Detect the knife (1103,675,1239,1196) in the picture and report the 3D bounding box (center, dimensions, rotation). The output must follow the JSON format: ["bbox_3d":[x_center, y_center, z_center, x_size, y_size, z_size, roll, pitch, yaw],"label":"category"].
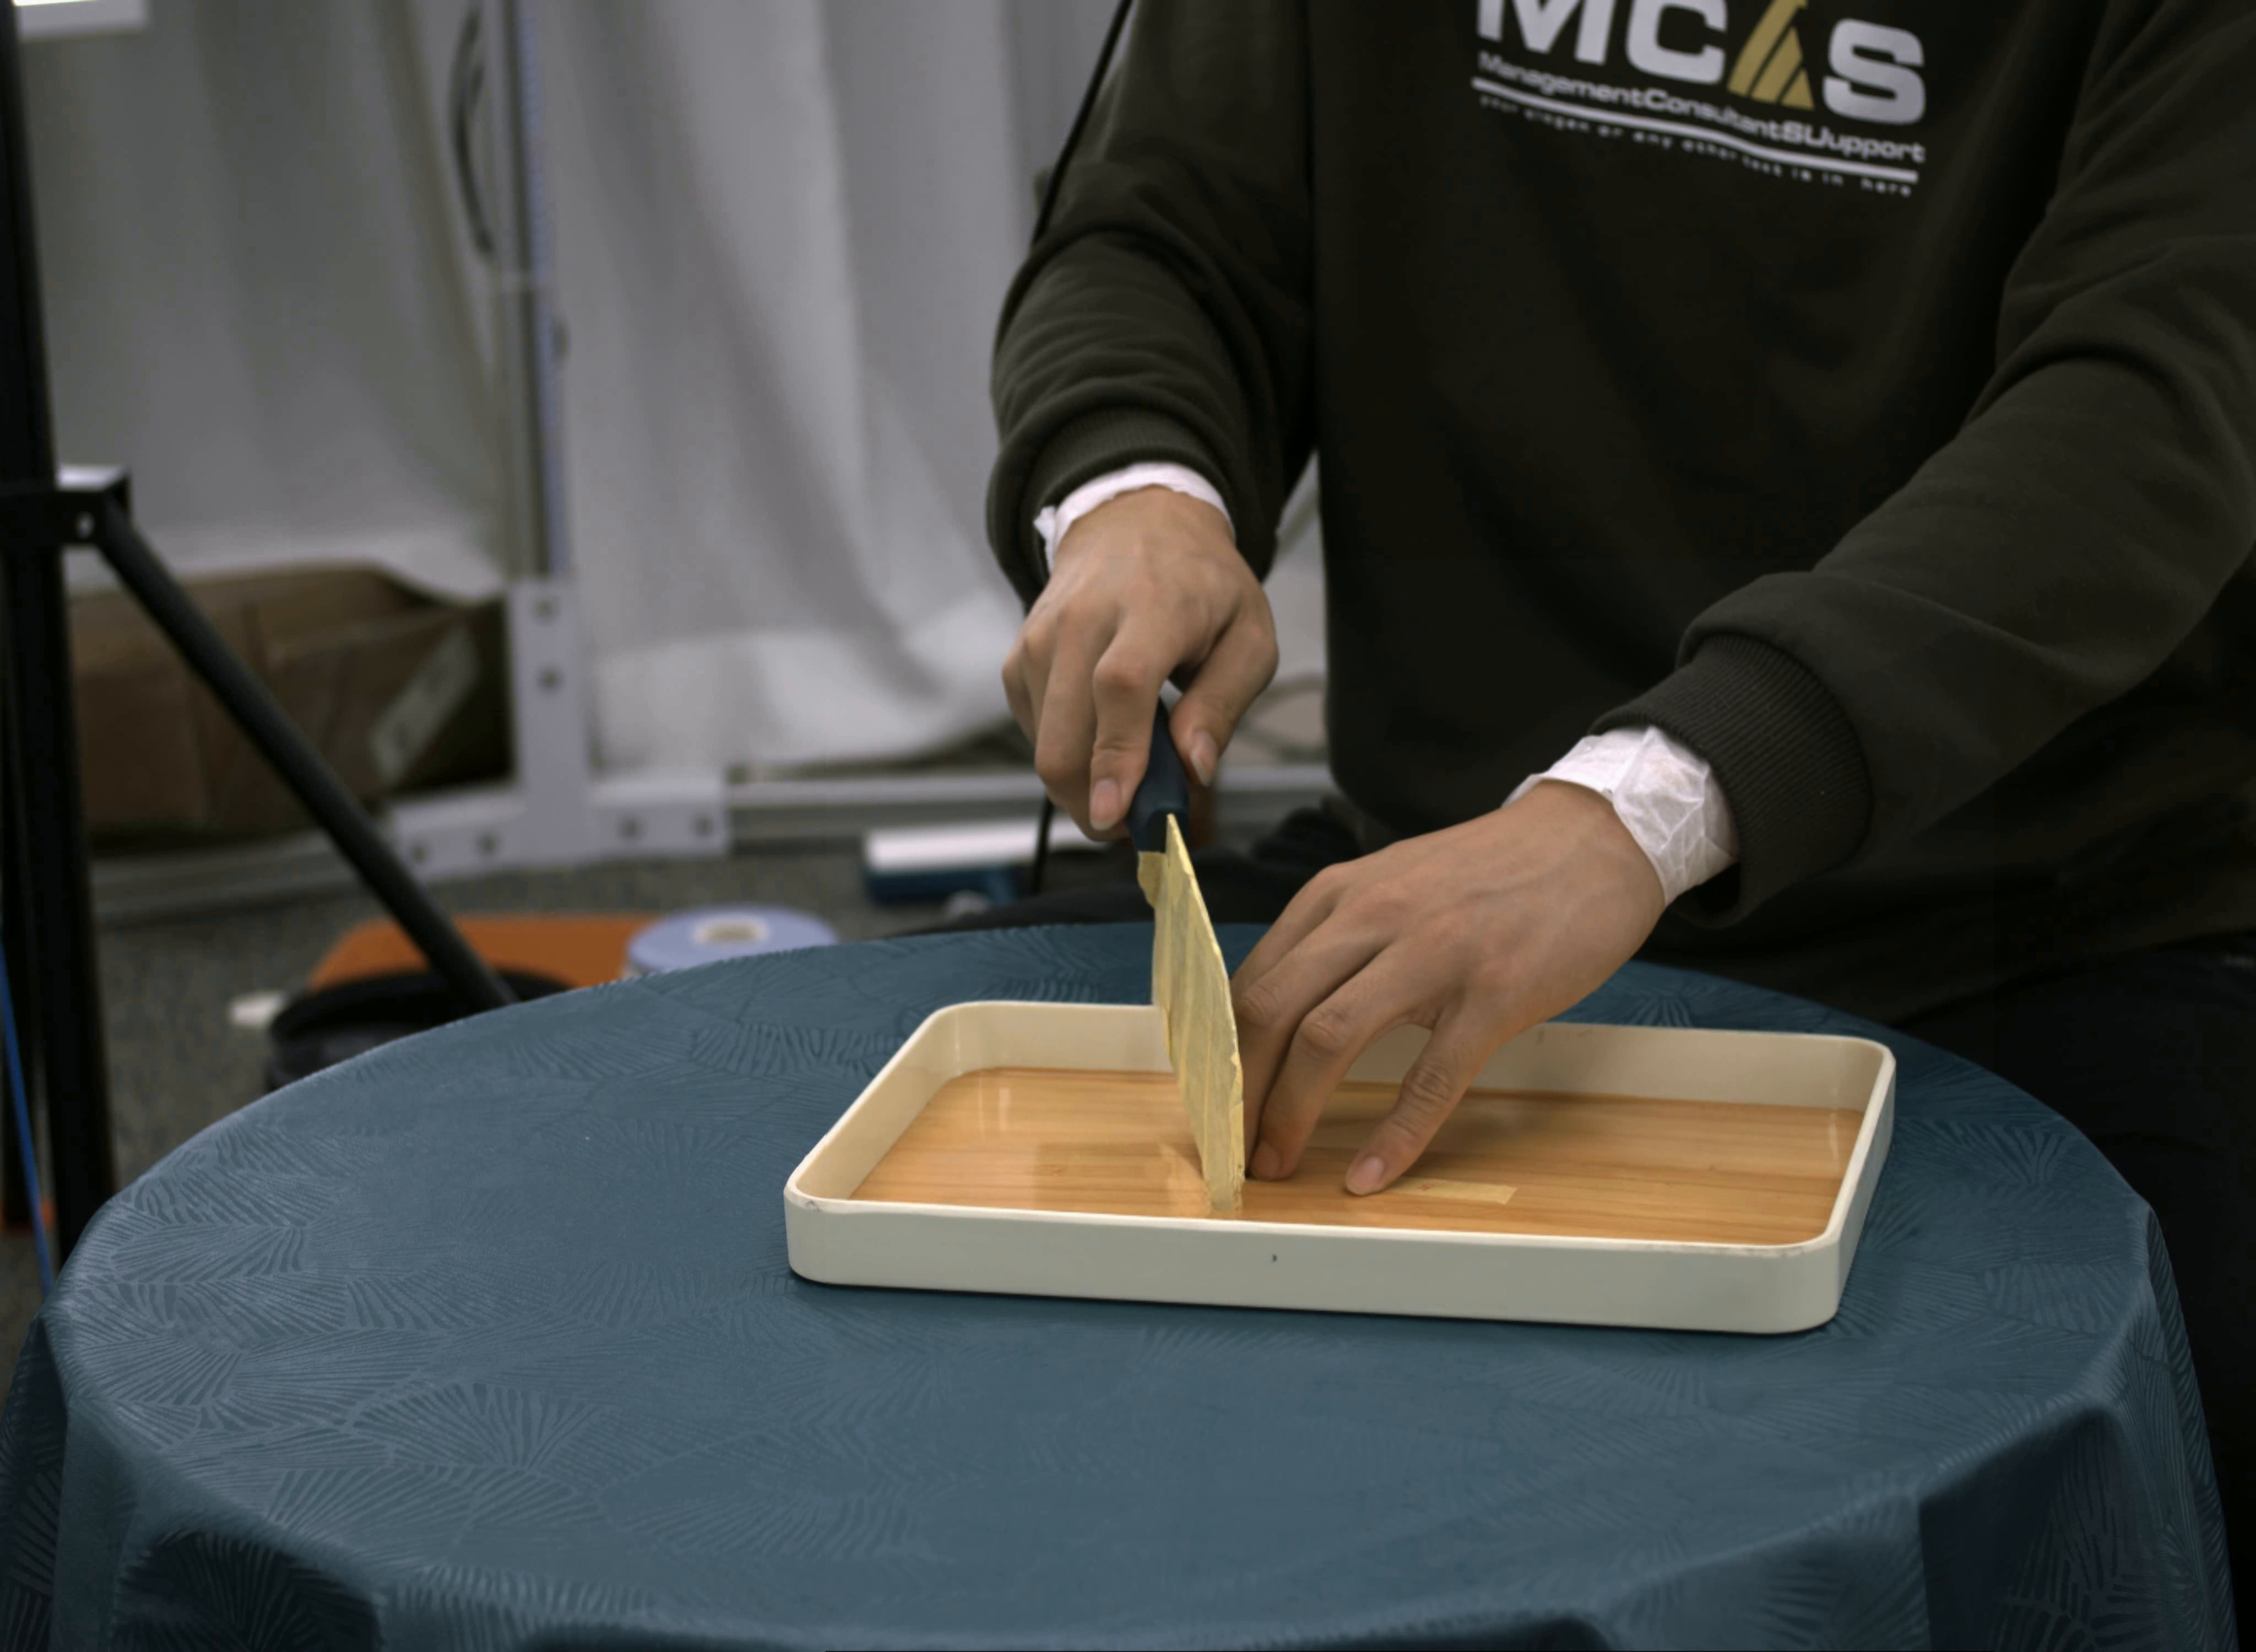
[{"bbox_3d":[0.015,0.031,1.614,0.027,0.081,0.292,2,27,-7],"label":"knife"}]

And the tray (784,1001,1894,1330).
[{"bbox_3d":[0.066,0.097,1.543,0.302,0.027,0.190,2,15,15],"label":"tray"}]
